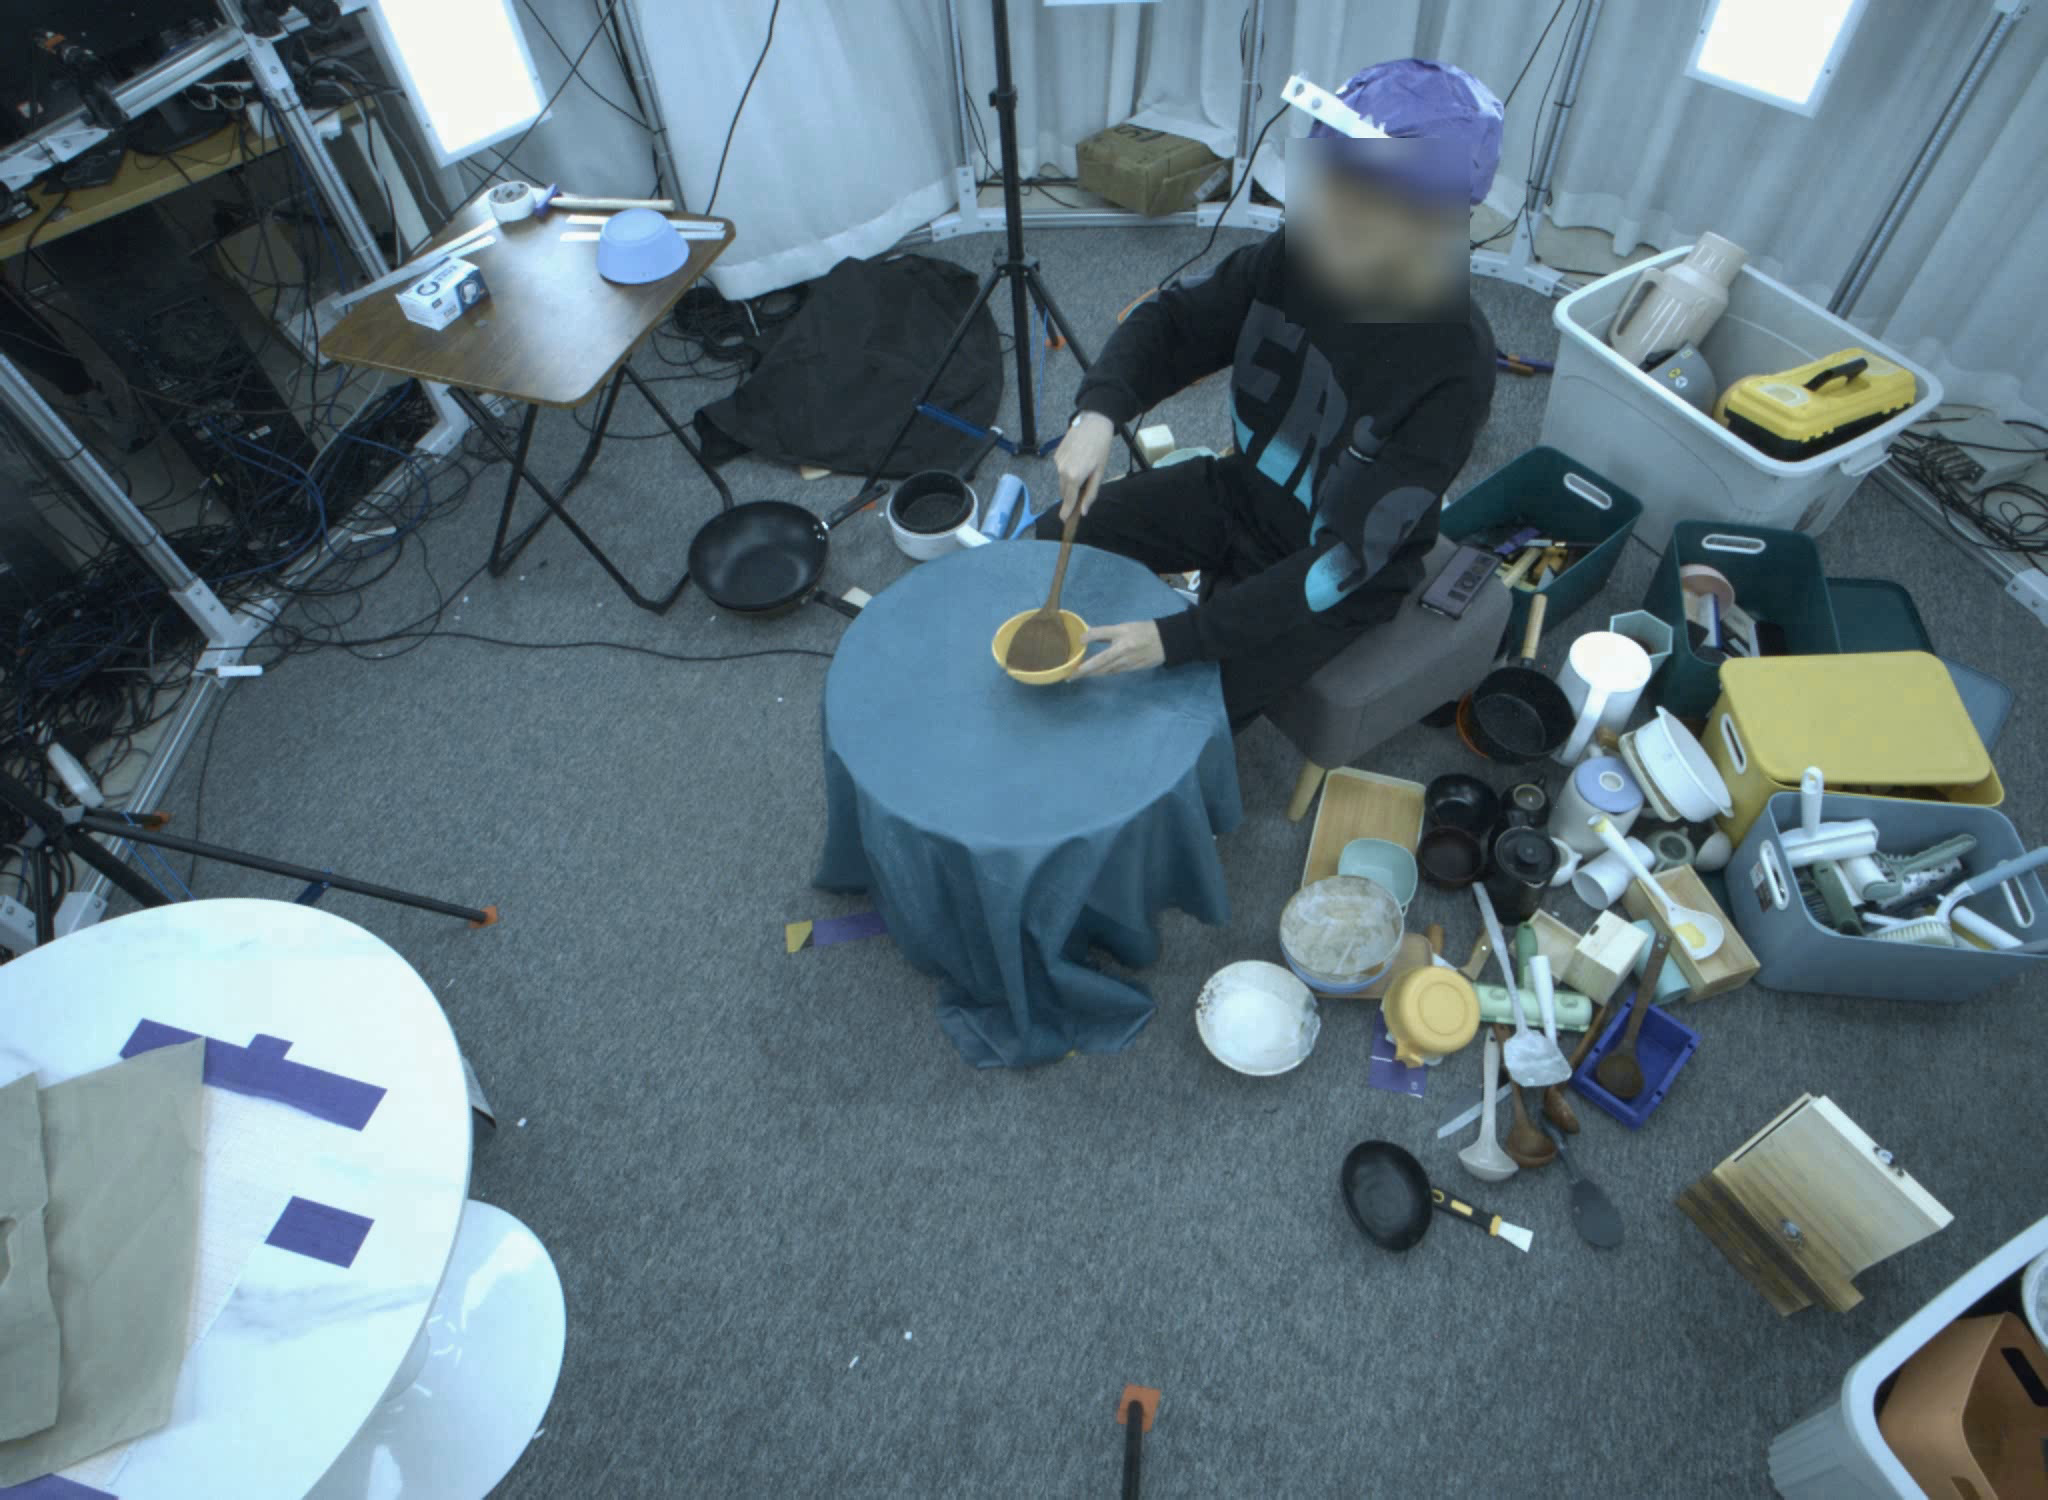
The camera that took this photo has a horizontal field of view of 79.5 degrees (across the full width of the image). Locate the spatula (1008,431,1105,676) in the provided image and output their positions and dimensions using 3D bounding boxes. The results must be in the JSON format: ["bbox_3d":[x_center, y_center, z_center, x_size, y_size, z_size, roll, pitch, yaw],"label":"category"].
[{"bbox_3d":[0.062,-0.290,1.817,0.095,0.016,0.386,15,94,15],"label":"spatula"}]

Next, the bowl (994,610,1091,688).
[{"bbox_3d":[0.030,-0.139,1.837,0.145,0.061,0.144,-2,48,3],"label":"bowl"}]
